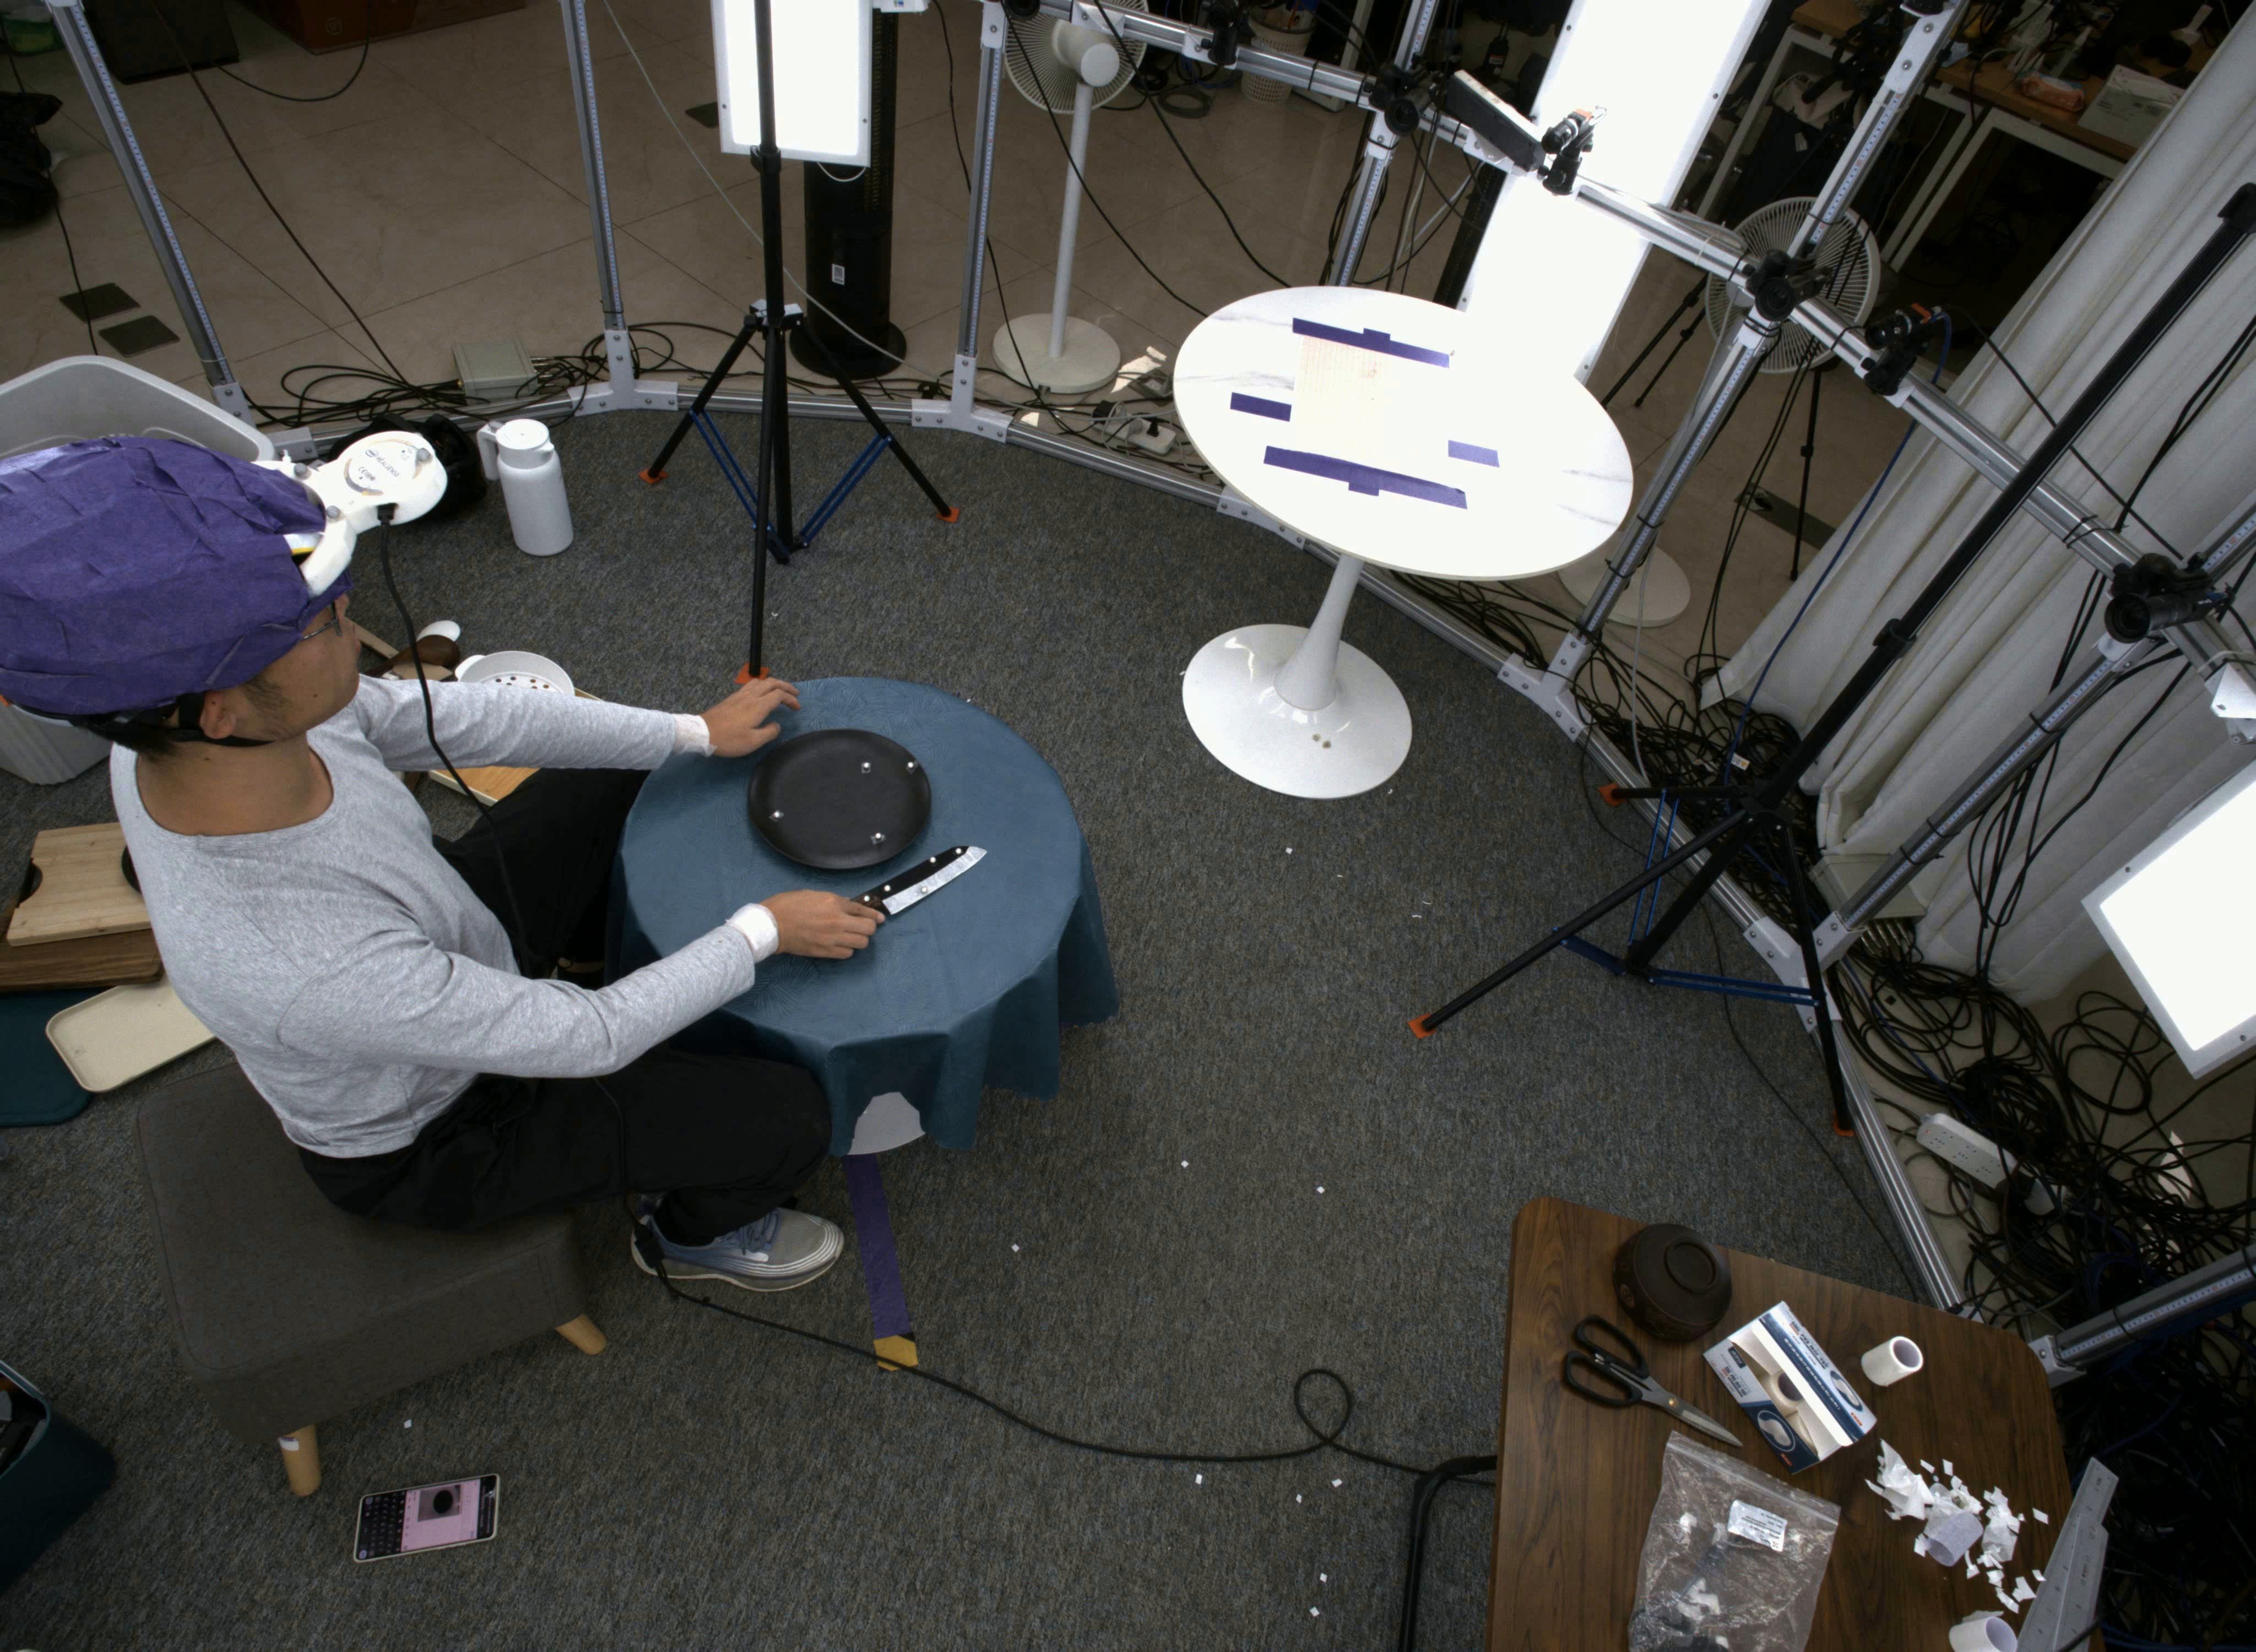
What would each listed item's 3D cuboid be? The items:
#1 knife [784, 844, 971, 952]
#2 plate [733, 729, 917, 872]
[{"bbox_3d":[-0.318,0.087,1.683,0.290,0.020,0.050,-29,76,-35],"label":"knife"},{"bbox_3d":[-0.407,-0.033,1.749,0.244,0.024,0.240,8,53,-9],"label":"plate"}]
